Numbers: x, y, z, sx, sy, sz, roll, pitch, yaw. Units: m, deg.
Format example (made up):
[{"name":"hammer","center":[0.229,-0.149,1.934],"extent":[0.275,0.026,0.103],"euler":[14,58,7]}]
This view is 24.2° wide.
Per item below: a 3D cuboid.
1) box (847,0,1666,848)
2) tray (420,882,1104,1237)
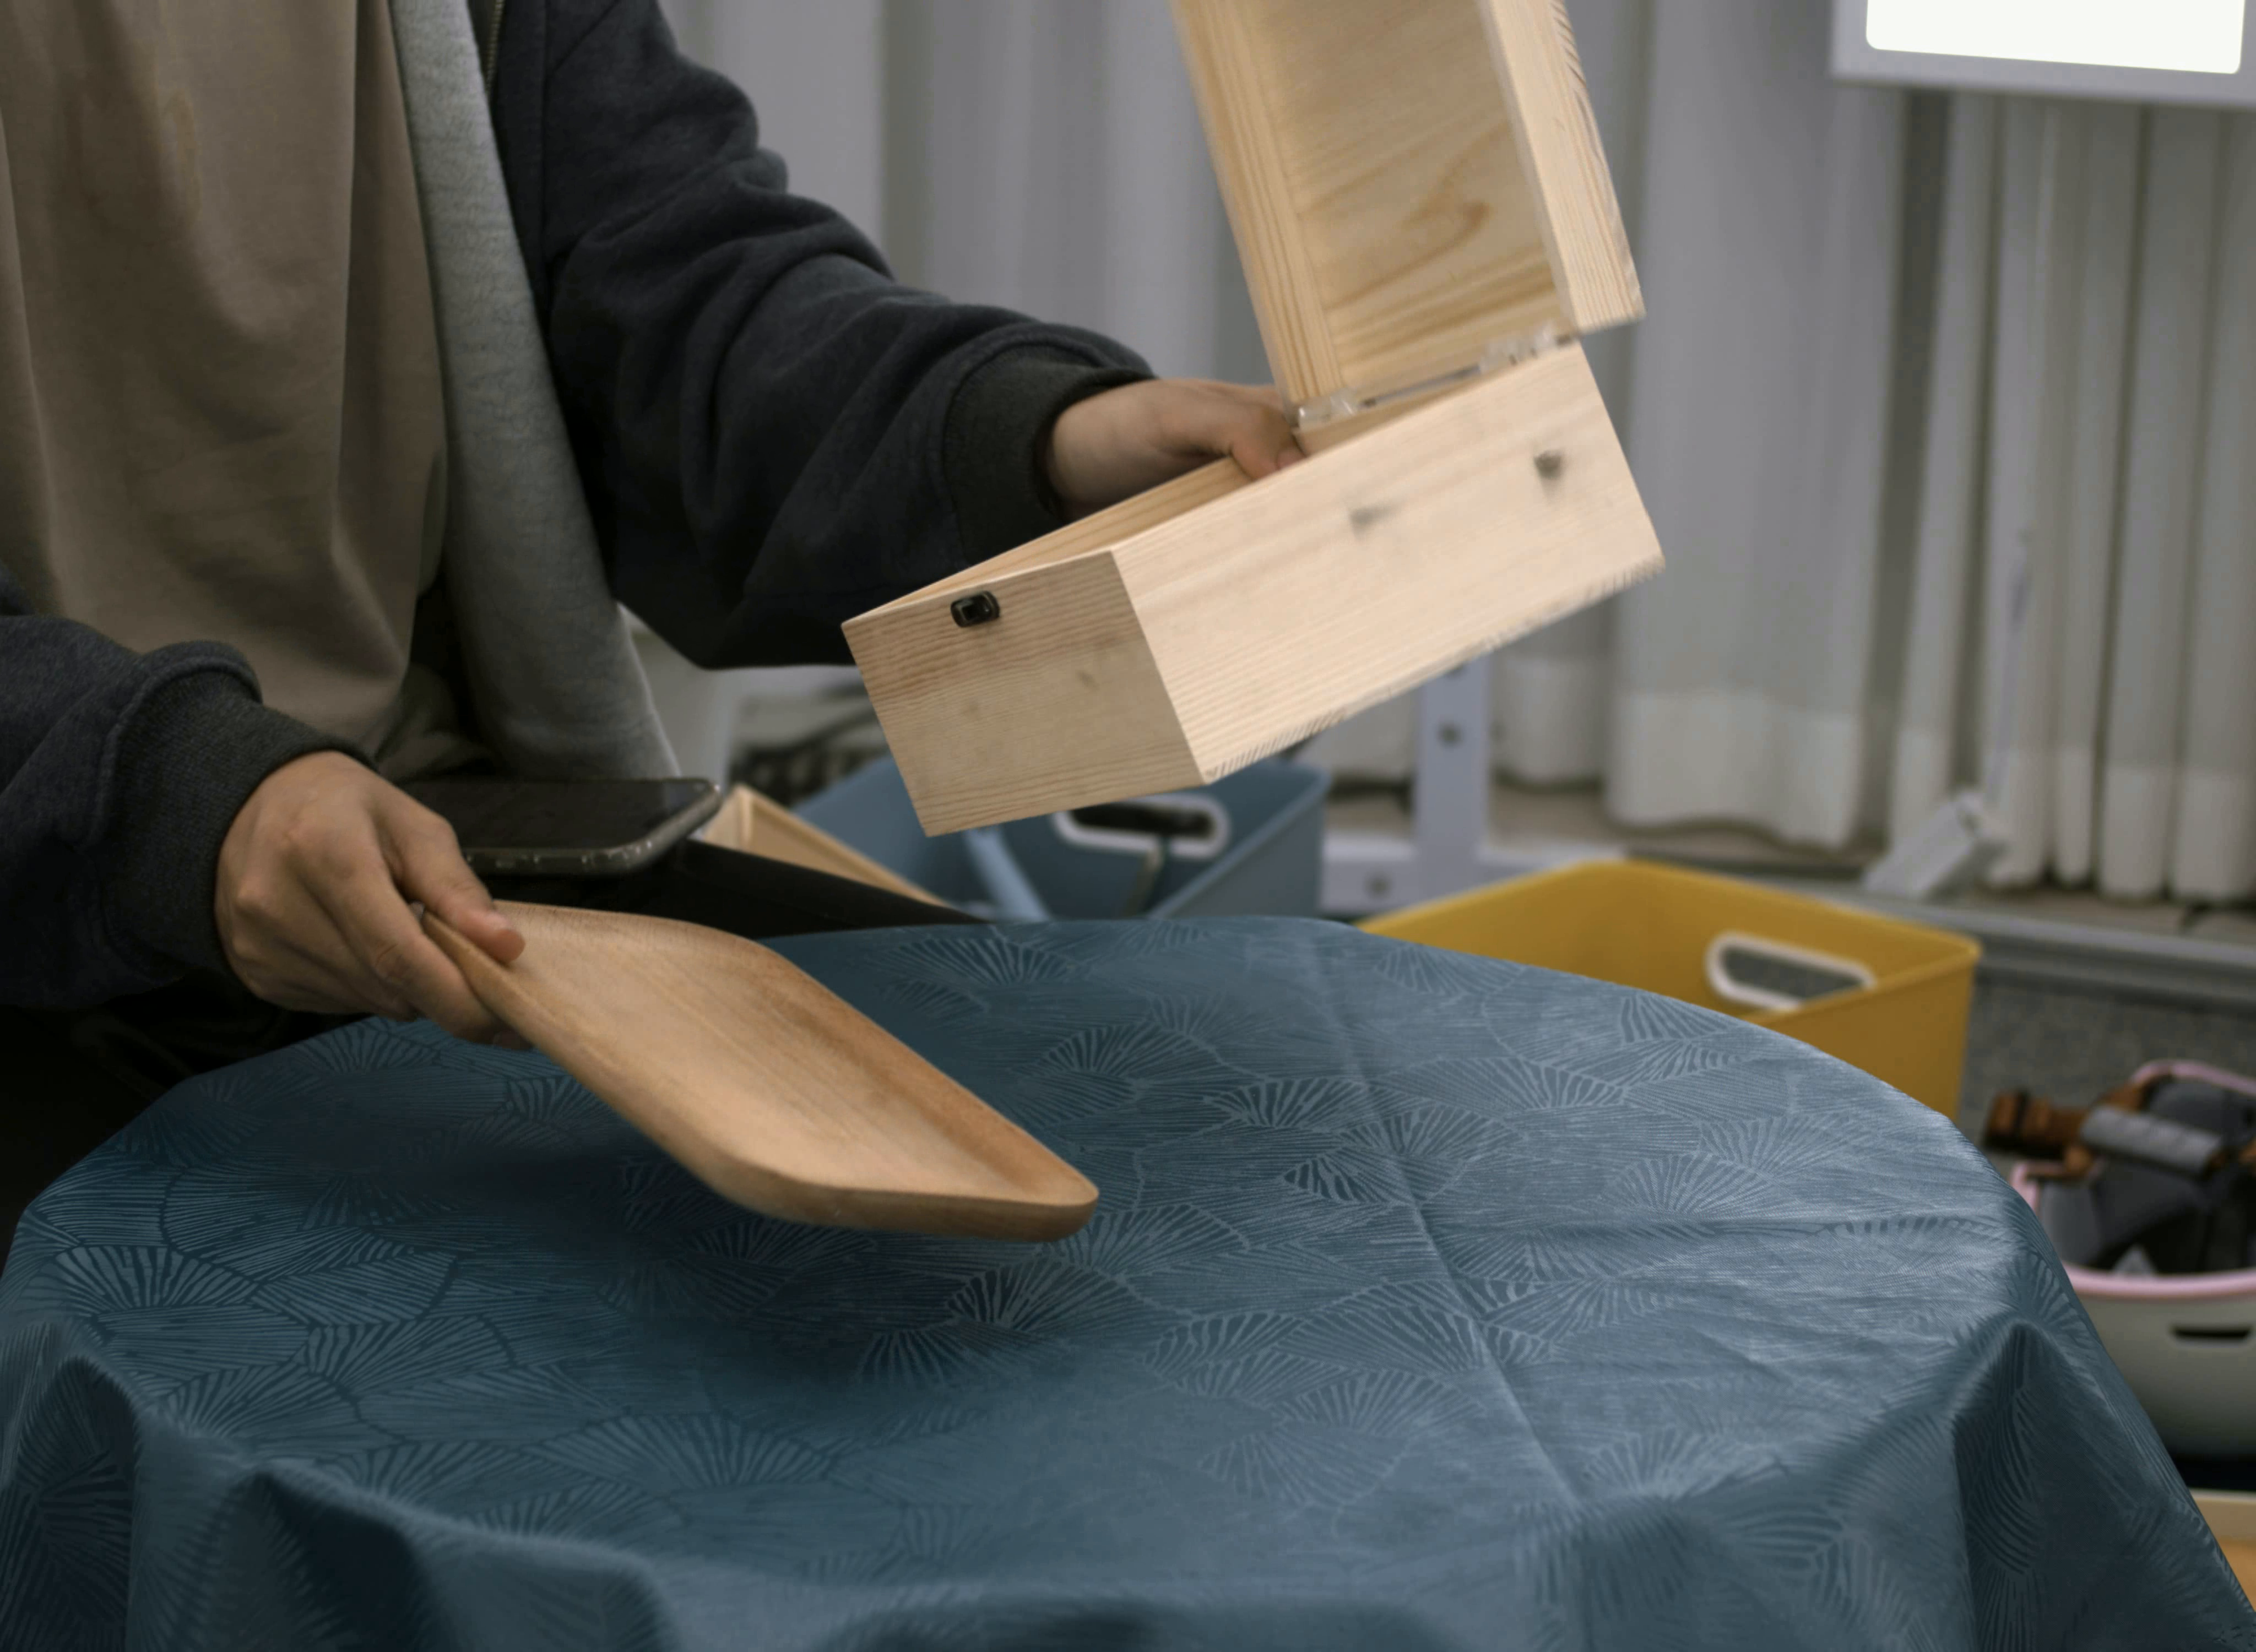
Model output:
[{"name":"box","center":[0.031,-0.165,1.640],"extent":[0.265,0.254,0.180],"euler":[-26,5,-30]},{"name":"tray","center":[-0.113,0.068,1.563],"extent":[0.132,0.023,0.247],"euler":[12,11,-35]}]
